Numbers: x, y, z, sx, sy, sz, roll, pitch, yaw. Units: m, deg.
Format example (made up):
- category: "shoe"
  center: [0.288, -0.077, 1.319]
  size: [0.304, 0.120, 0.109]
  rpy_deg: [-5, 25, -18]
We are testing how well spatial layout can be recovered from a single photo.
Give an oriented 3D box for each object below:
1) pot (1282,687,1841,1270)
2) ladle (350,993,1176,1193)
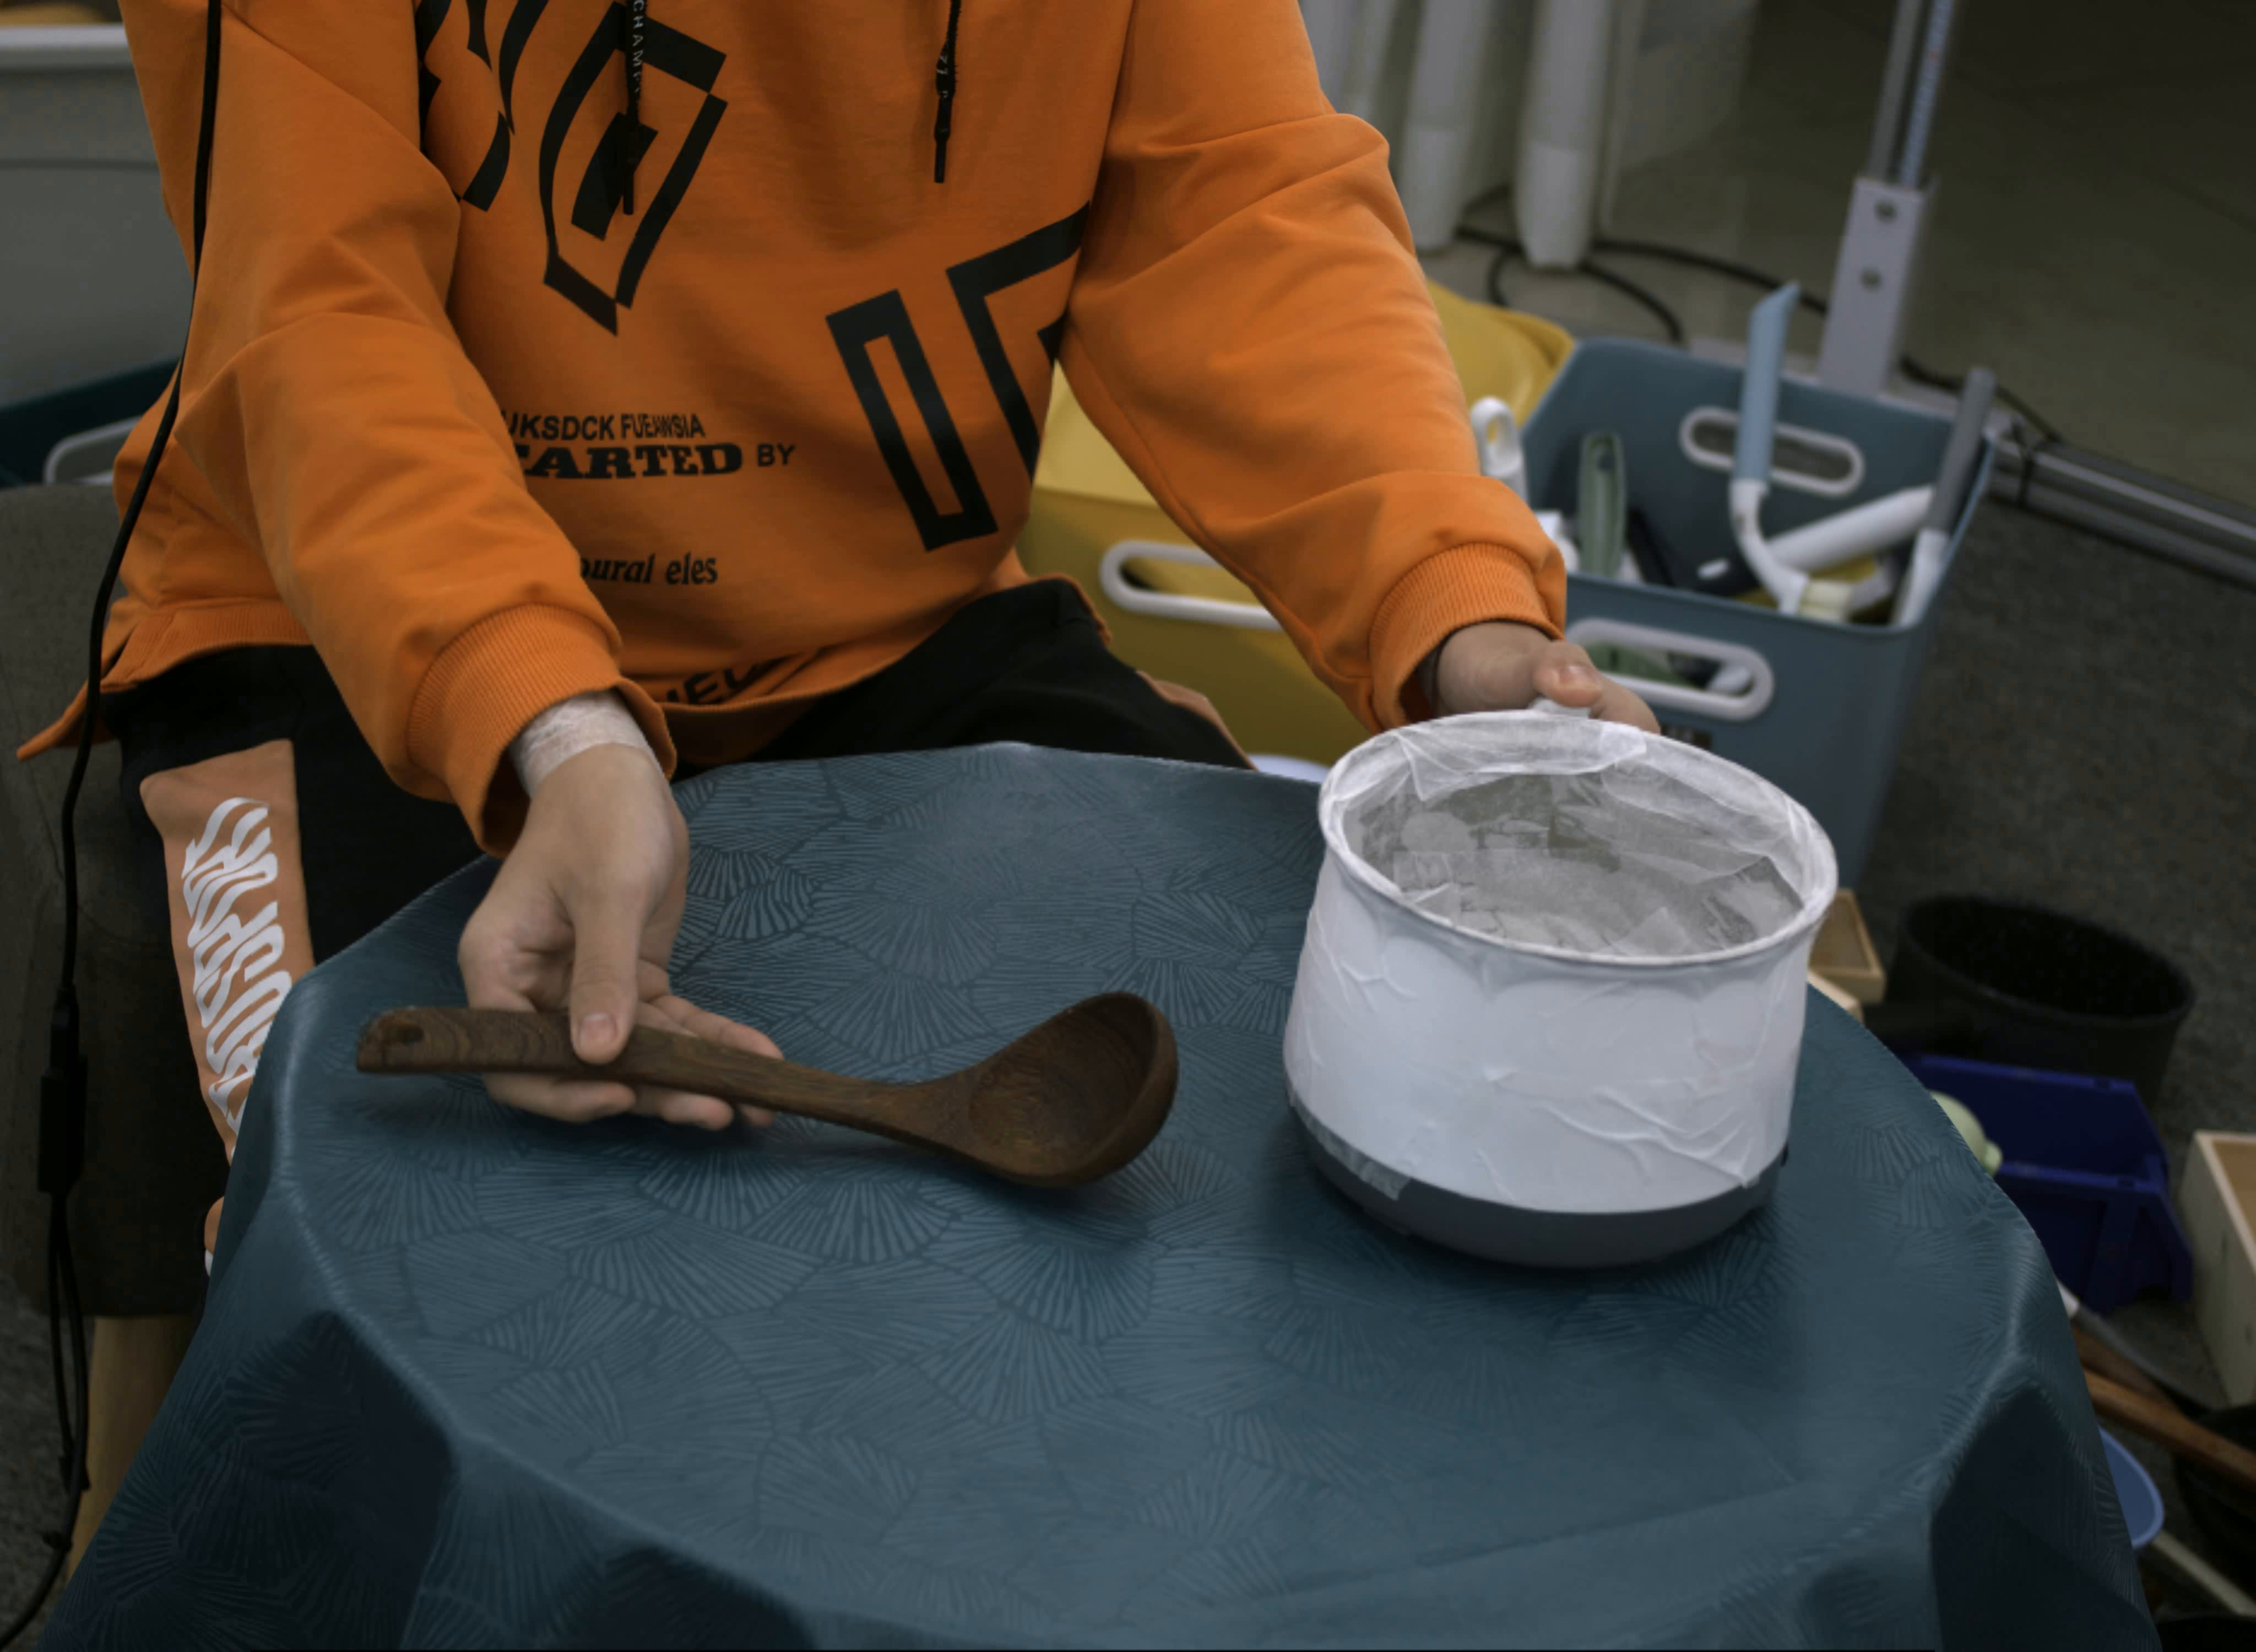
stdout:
- category: "pot"
  center: [0.144, 0.045, 1.838]
  size: [0.178, 0.136, 0.235]
  rpy_deg: [6, 27, -3]
- category: "ladle"
  center: [-0.121, 0.073, 1.782]
  size: [0.273, 0.071, 0.076]
  rpy_deg: [10, 43, -6]
